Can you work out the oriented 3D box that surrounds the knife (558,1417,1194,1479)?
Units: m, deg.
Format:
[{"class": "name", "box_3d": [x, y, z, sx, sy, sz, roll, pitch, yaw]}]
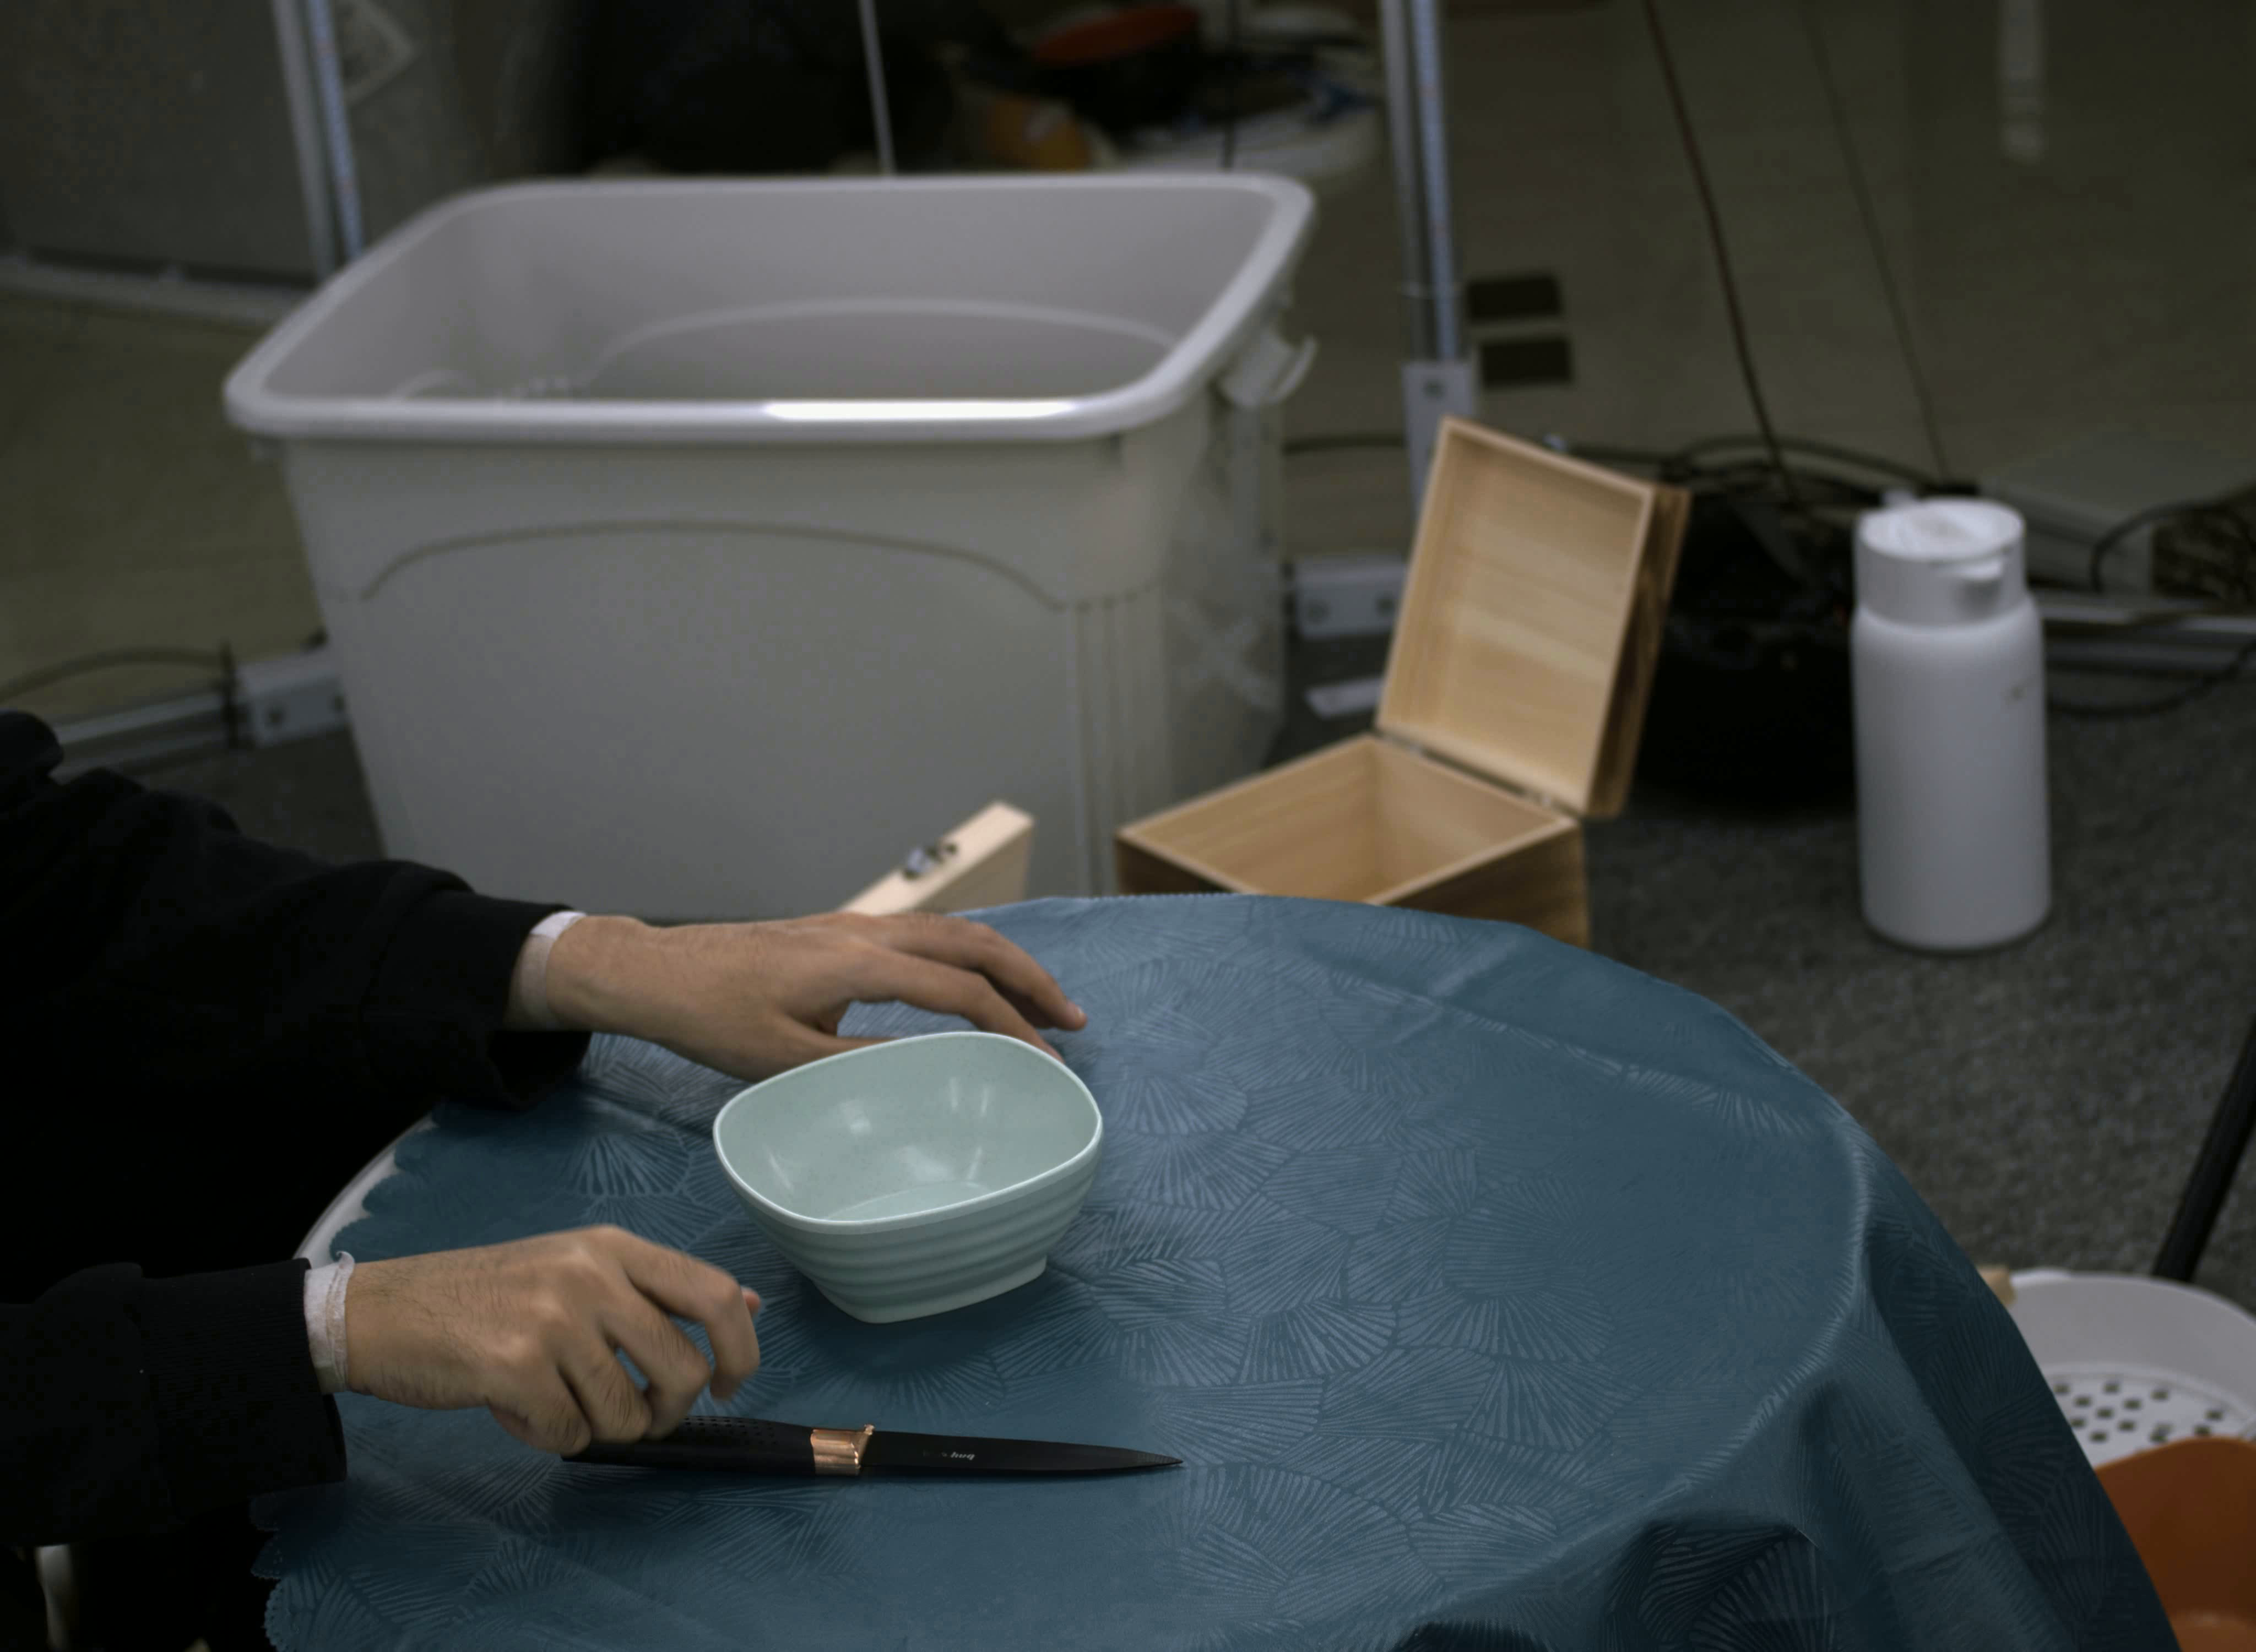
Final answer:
[{"class": "knife", "box_3d": [-0.089, 0.217, 1.987, 0.225, 0.017, 0.026, -1, 28, 9]}]

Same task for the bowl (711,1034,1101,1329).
[{"class": "bowl", "box_3d": [-0.080, 0.138, 2.105, 0.151, 0.059, 0.149, -5, 27, 3]}]
